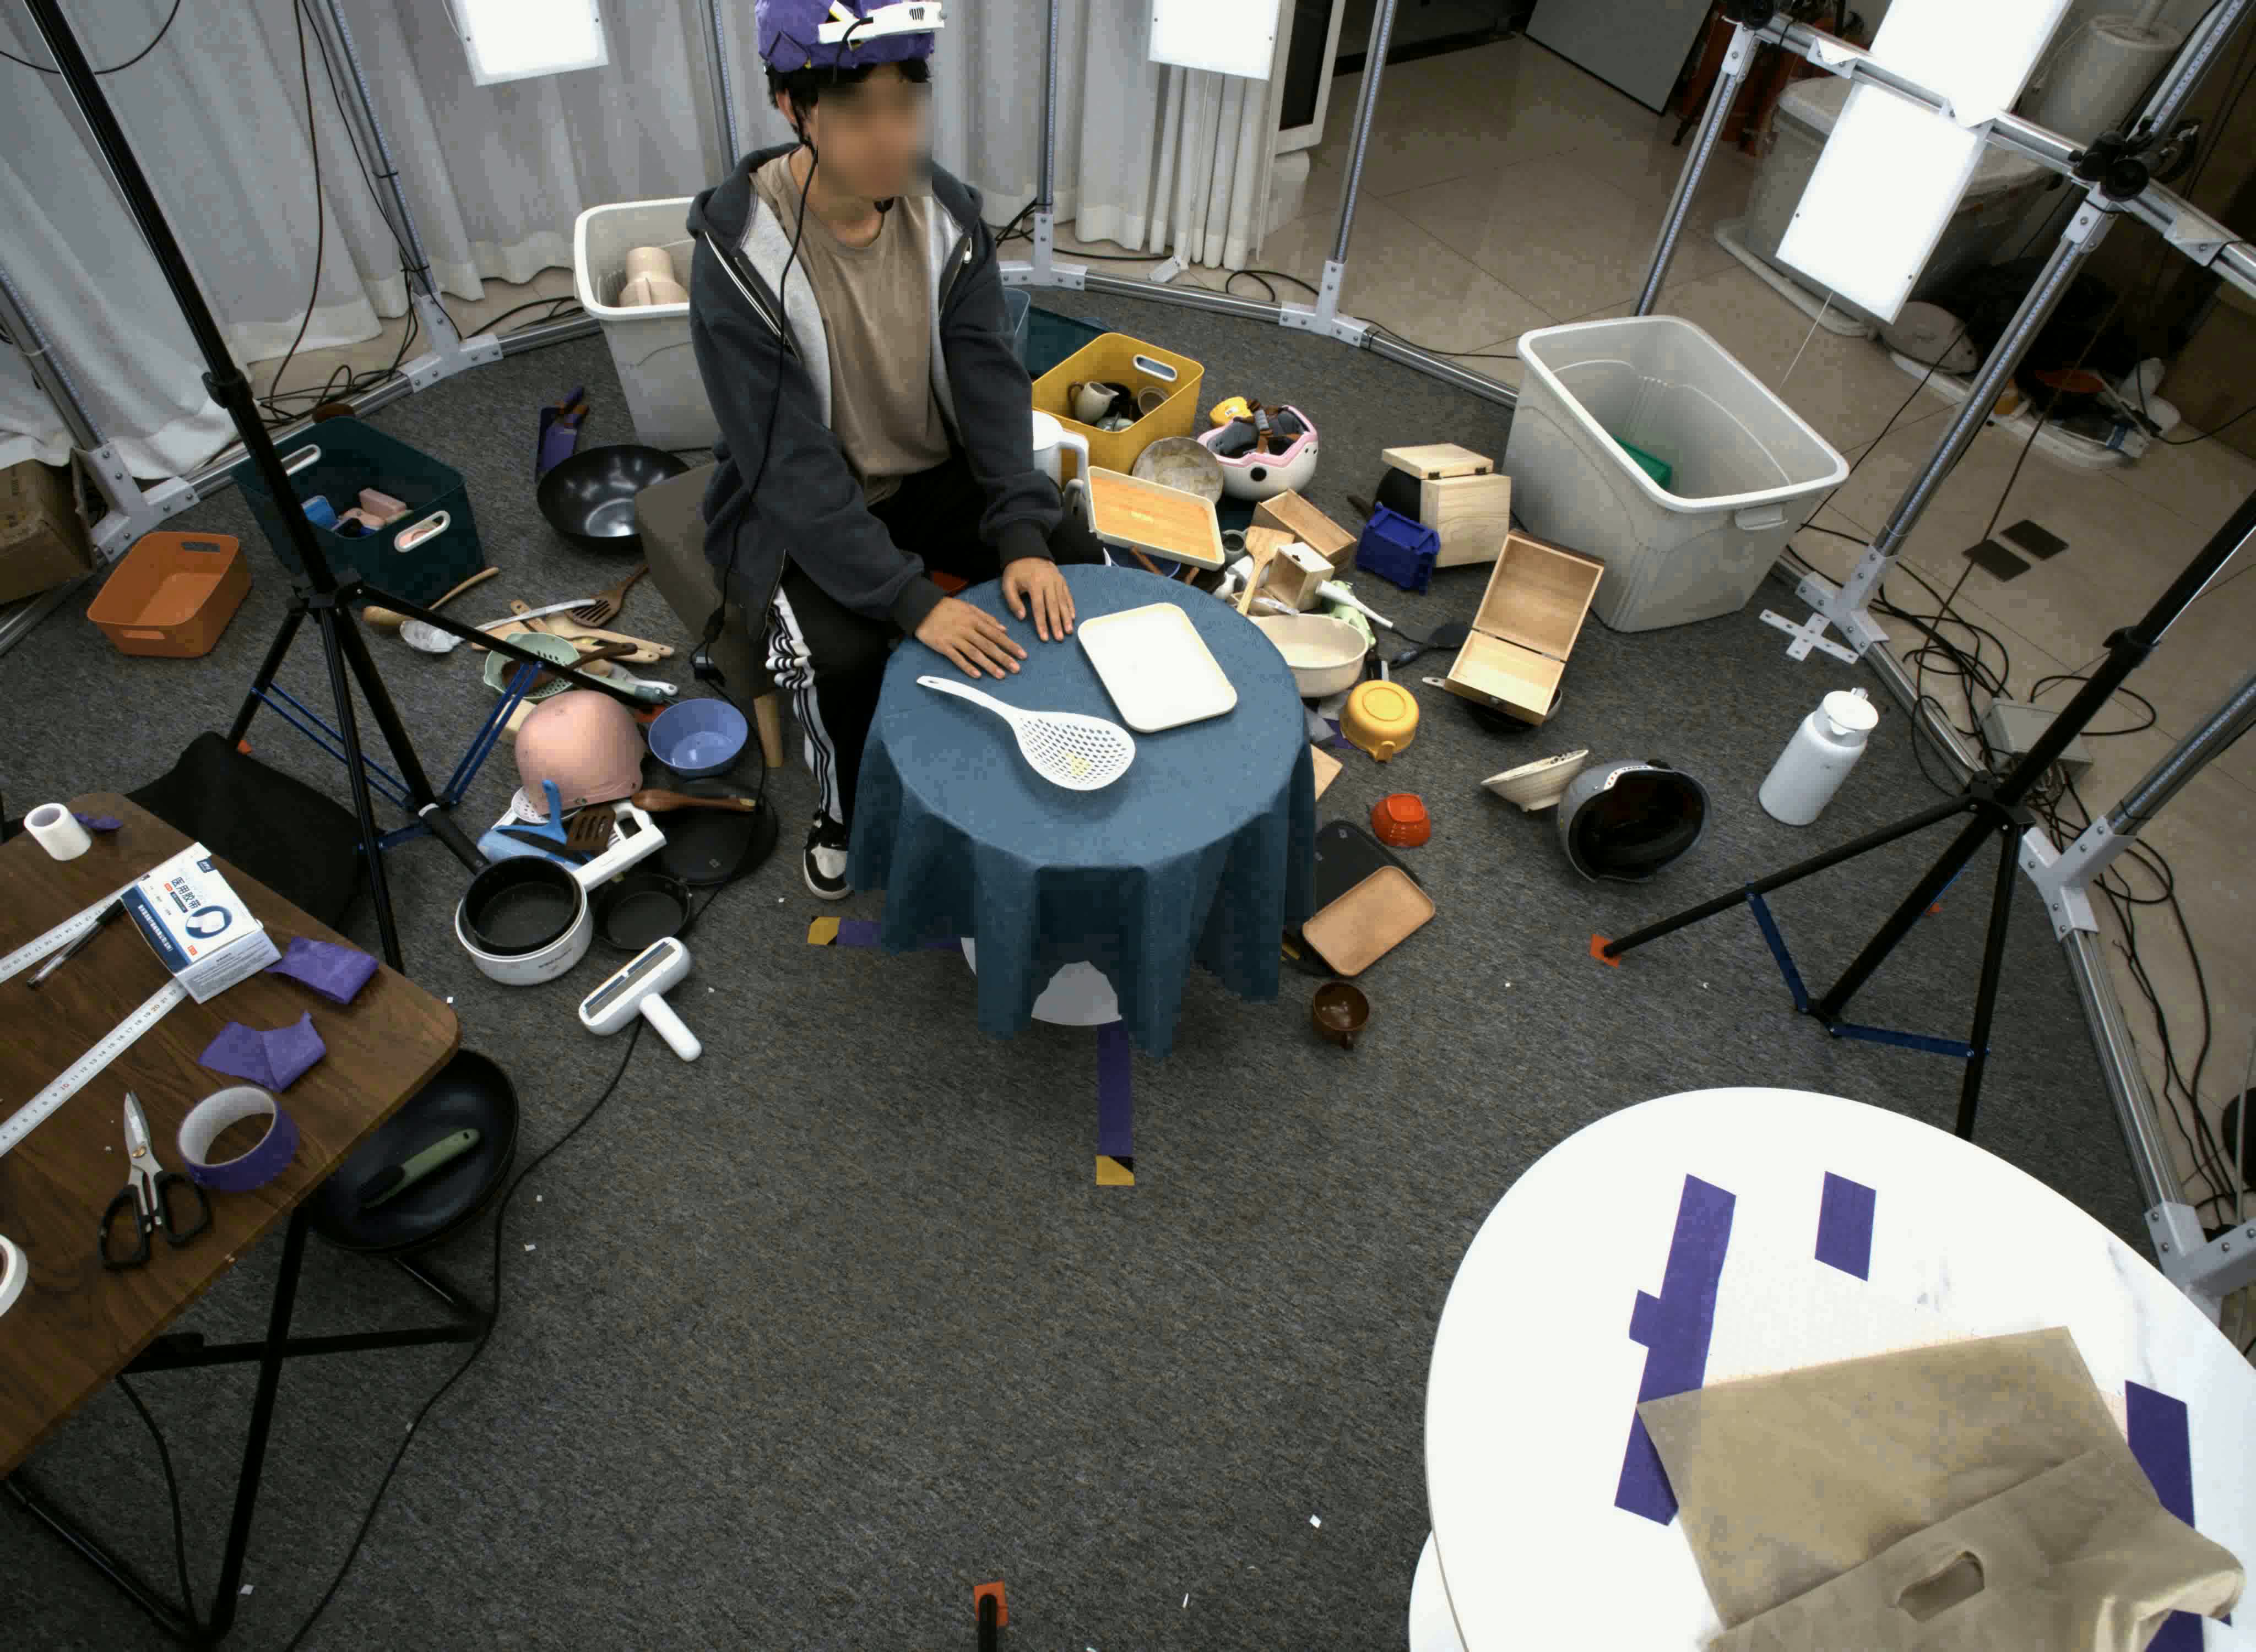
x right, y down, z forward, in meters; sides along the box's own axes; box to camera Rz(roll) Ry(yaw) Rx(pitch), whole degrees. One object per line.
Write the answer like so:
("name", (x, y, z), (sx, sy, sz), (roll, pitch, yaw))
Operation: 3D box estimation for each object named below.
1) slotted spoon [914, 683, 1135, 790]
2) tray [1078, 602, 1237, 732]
("slotted spoon", (-0.150, -0.139, 1.751), (0.351, 0.049, 0.139), (29, 57, 21))
("tray", (0.041, -0.232, 1.859), (0.171, 0.017, 0.245), (-16, 52, -16))
